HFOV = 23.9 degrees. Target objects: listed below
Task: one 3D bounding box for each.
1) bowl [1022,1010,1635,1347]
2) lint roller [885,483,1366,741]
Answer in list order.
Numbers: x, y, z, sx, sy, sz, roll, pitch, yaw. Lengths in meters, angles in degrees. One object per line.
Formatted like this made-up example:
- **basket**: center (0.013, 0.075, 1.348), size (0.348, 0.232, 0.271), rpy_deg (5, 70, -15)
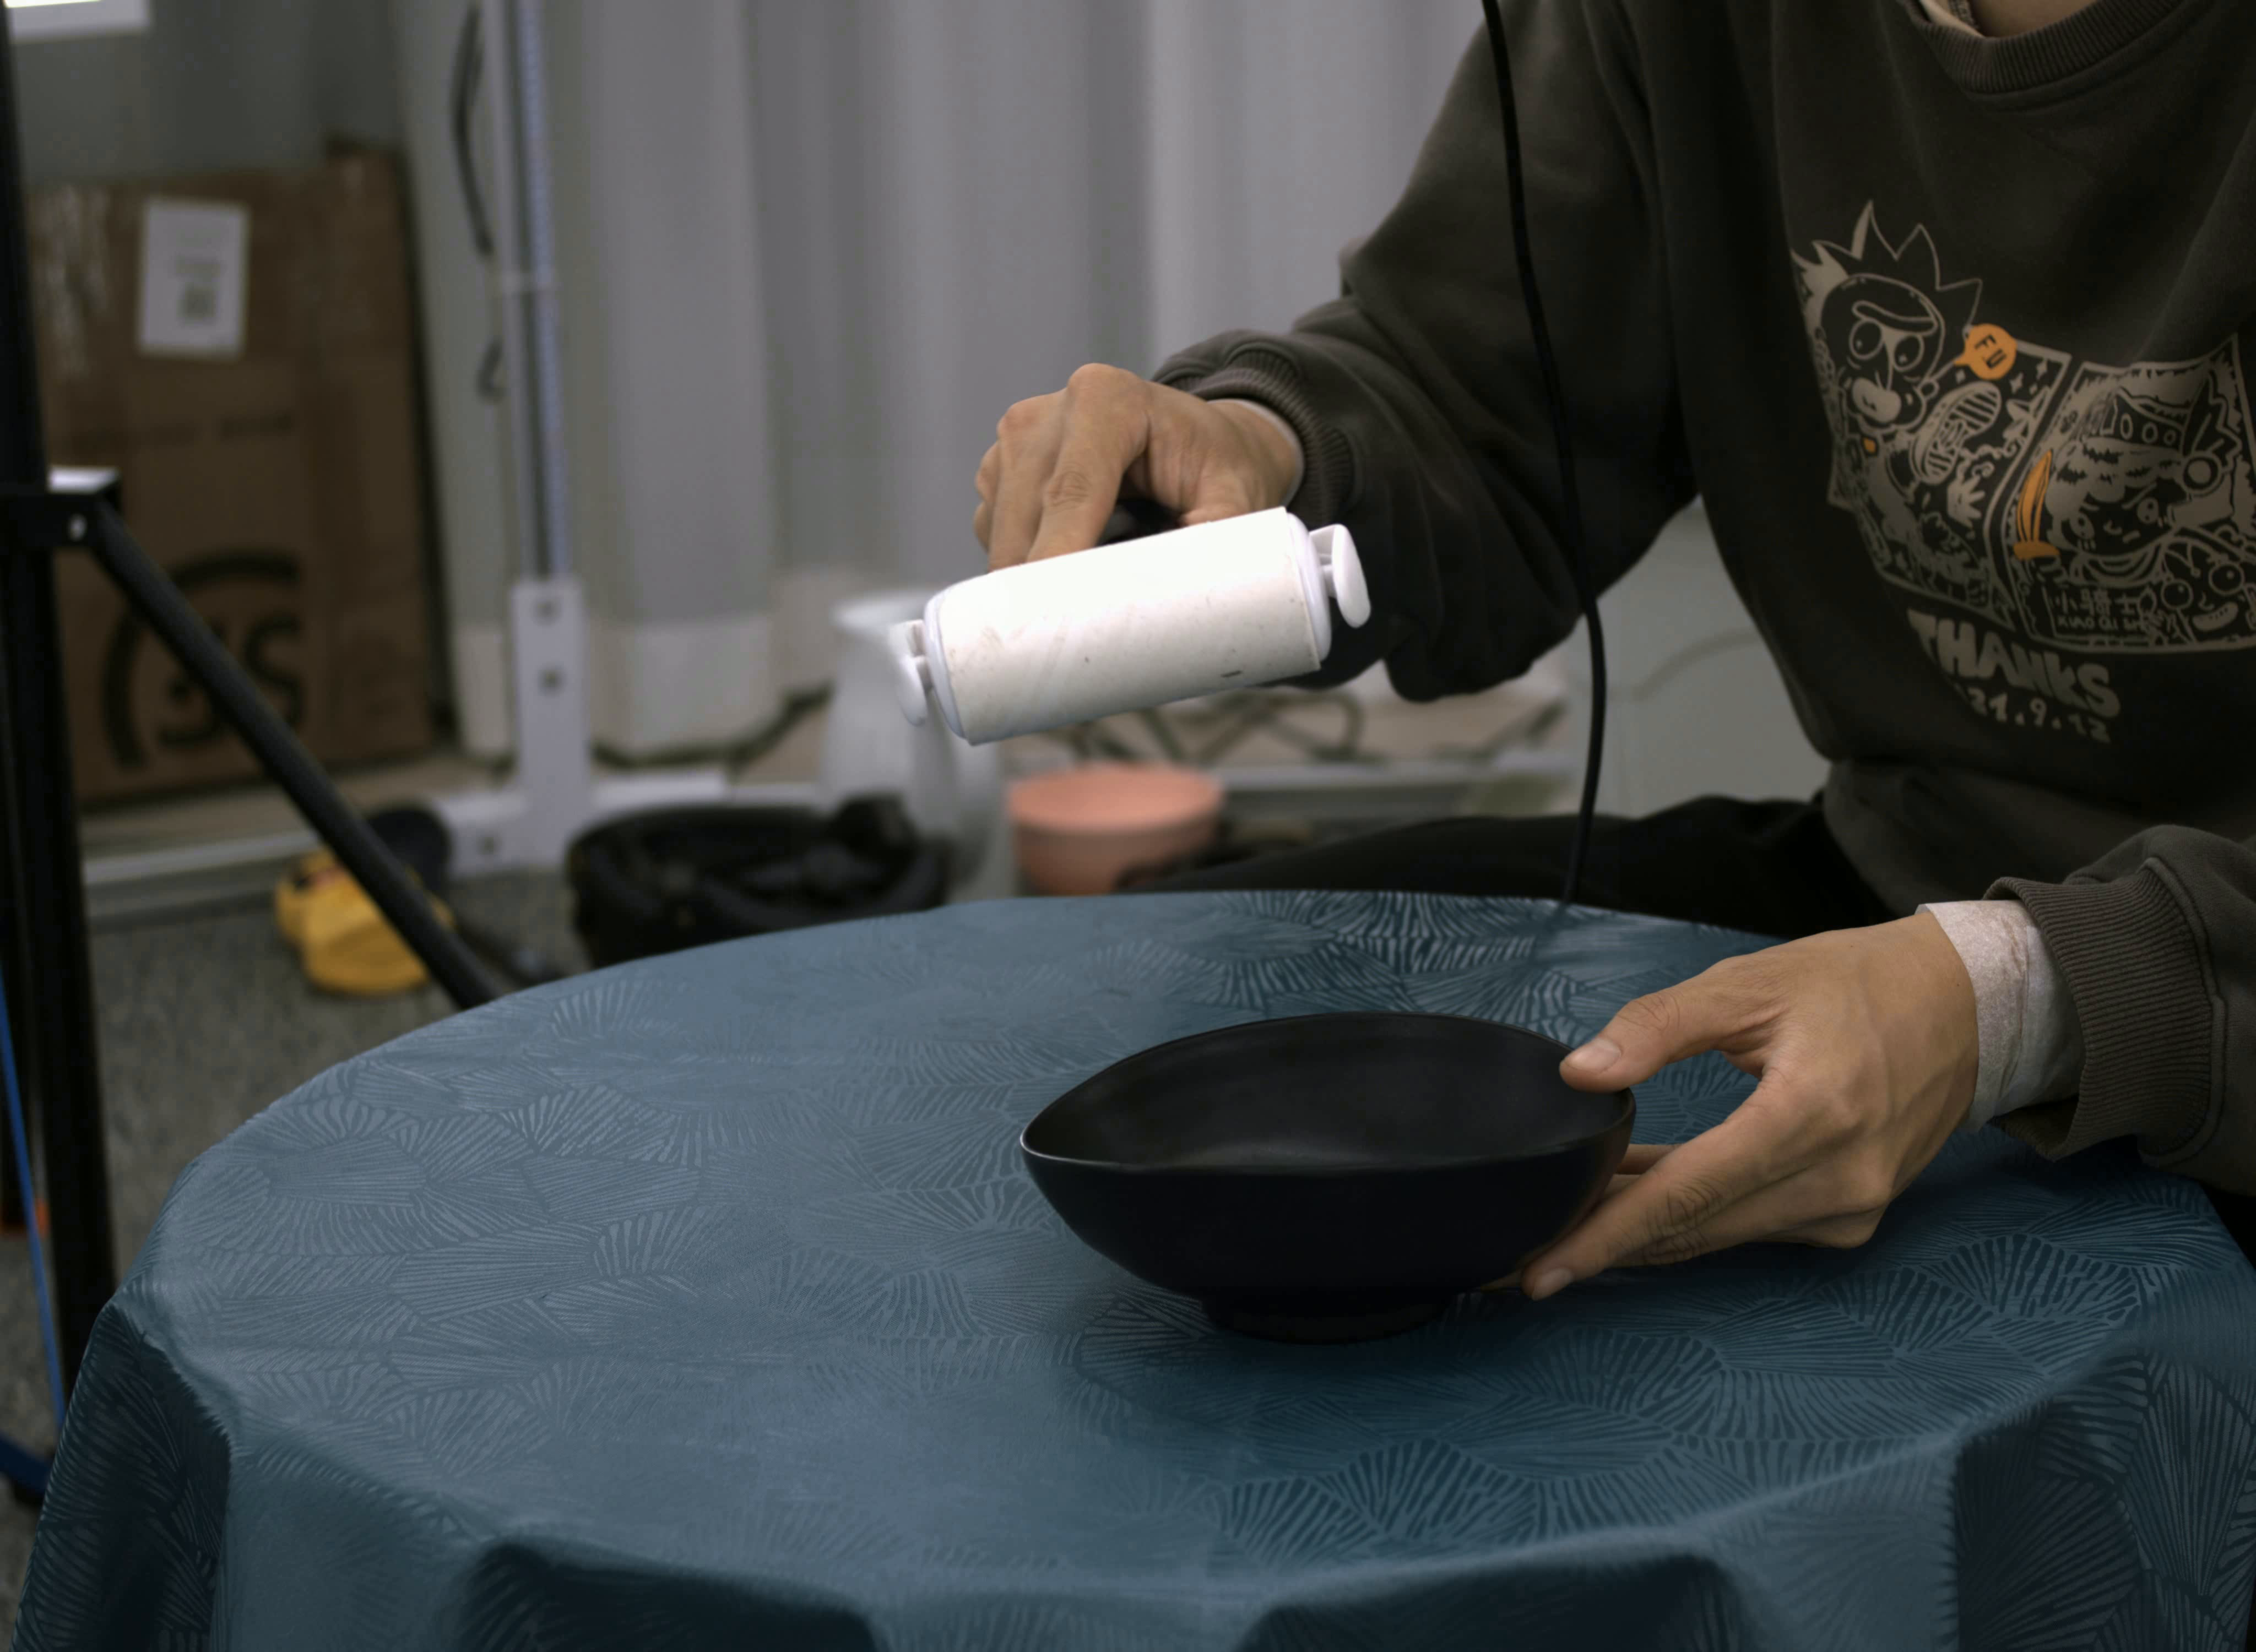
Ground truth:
- **bowl**: center (0.055, 0.102, 1.458), size (0.170, 0.067, 0.137), rpy_deg (-2, 14, 8)
- **lint roller**: center (-0.002, -0.081, 1.520), size (0.133, 0.050, 0.182), rpy_deg (-12, 23, 4)
